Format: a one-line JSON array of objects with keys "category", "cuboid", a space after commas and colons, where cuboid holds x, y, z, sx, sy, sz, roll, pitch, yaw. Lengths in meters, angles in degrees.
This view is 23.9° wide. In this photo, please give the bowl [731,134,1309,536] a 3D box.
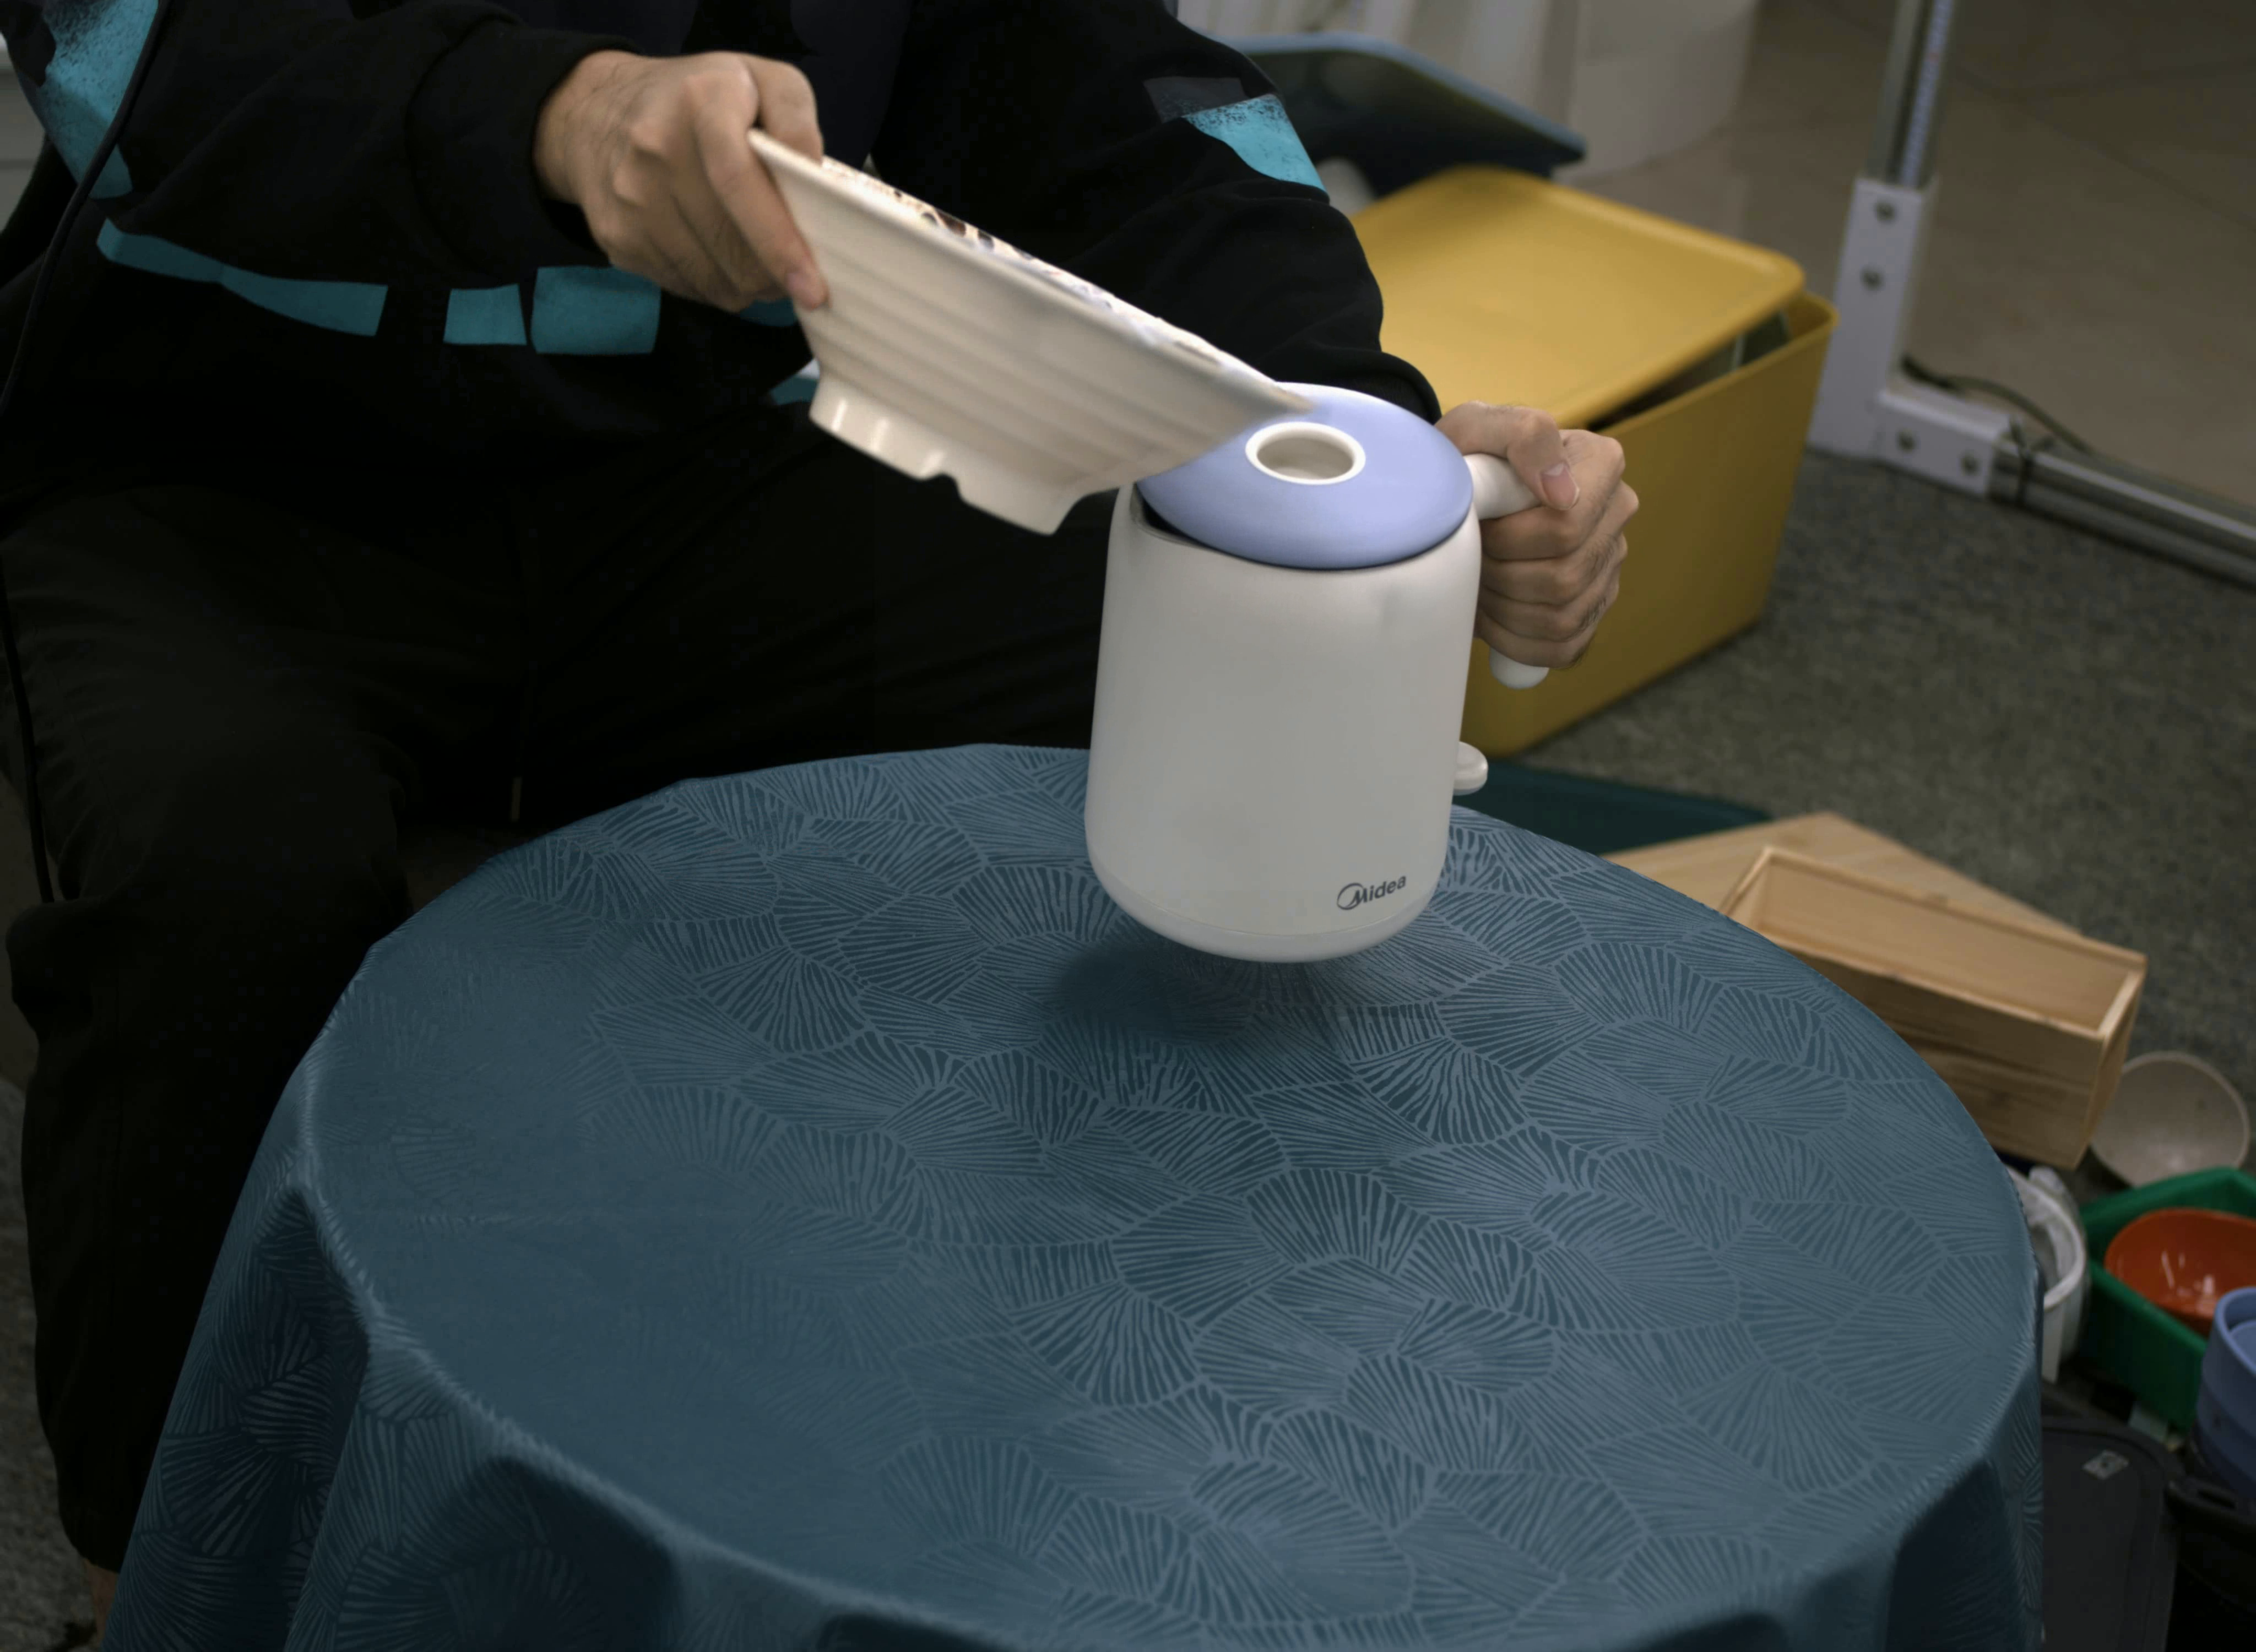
[{"category": "bowl", "cuboid": [-0.048, -0.146, 1.710, 0.203, 0.078, 0.204, 24, 4, -2]}]

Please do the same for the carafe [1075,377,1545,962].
[{"category": "carafe", "cuboid": [0.073, -0.061, 1.892, 0.190, 0.182, 0.133, -16, 40, -32]}]
